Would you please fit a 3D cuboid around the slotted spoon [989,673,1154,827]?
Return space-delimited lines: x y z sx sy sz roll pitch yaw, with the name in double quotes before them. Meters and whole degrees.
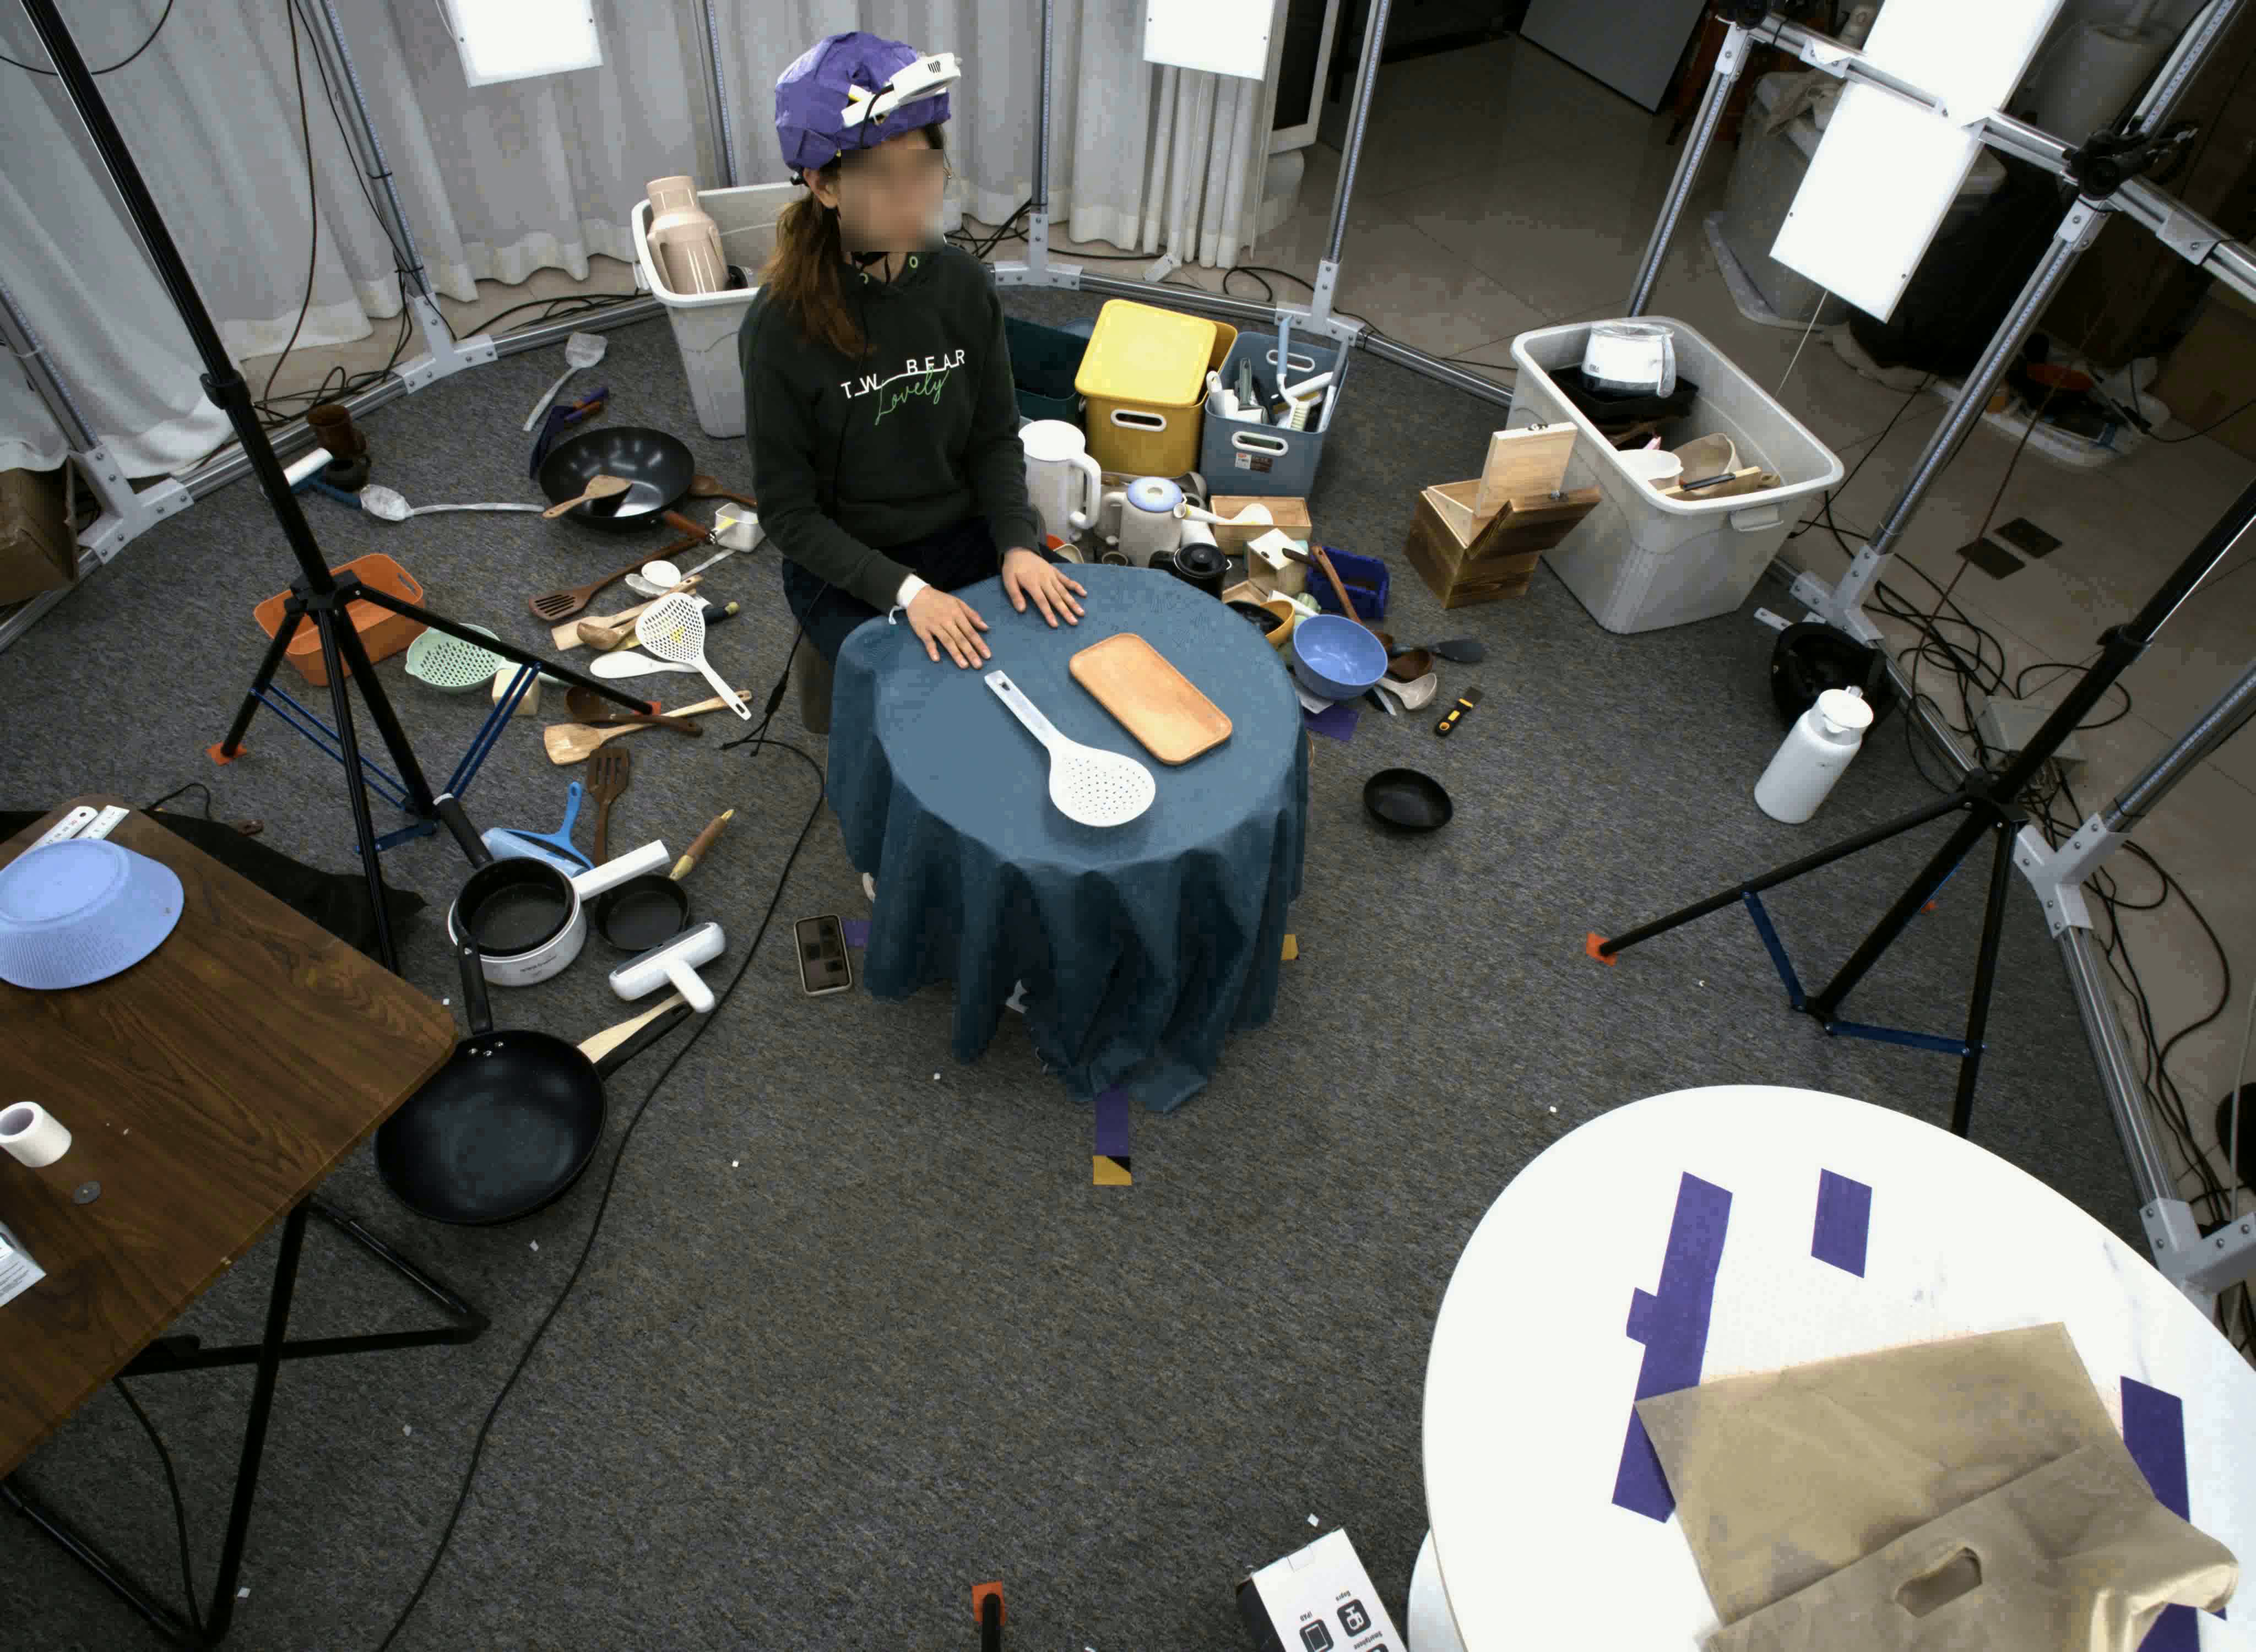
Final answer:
"slotted spoon" -0.094 -0.109 1.743 0.136 0.044 0.357 -23 53 -25

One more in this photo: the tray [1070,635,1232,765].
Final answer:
"tray" 0.031 -0.183 1.835 0.131 0.022 0.255 -26 55 -26
